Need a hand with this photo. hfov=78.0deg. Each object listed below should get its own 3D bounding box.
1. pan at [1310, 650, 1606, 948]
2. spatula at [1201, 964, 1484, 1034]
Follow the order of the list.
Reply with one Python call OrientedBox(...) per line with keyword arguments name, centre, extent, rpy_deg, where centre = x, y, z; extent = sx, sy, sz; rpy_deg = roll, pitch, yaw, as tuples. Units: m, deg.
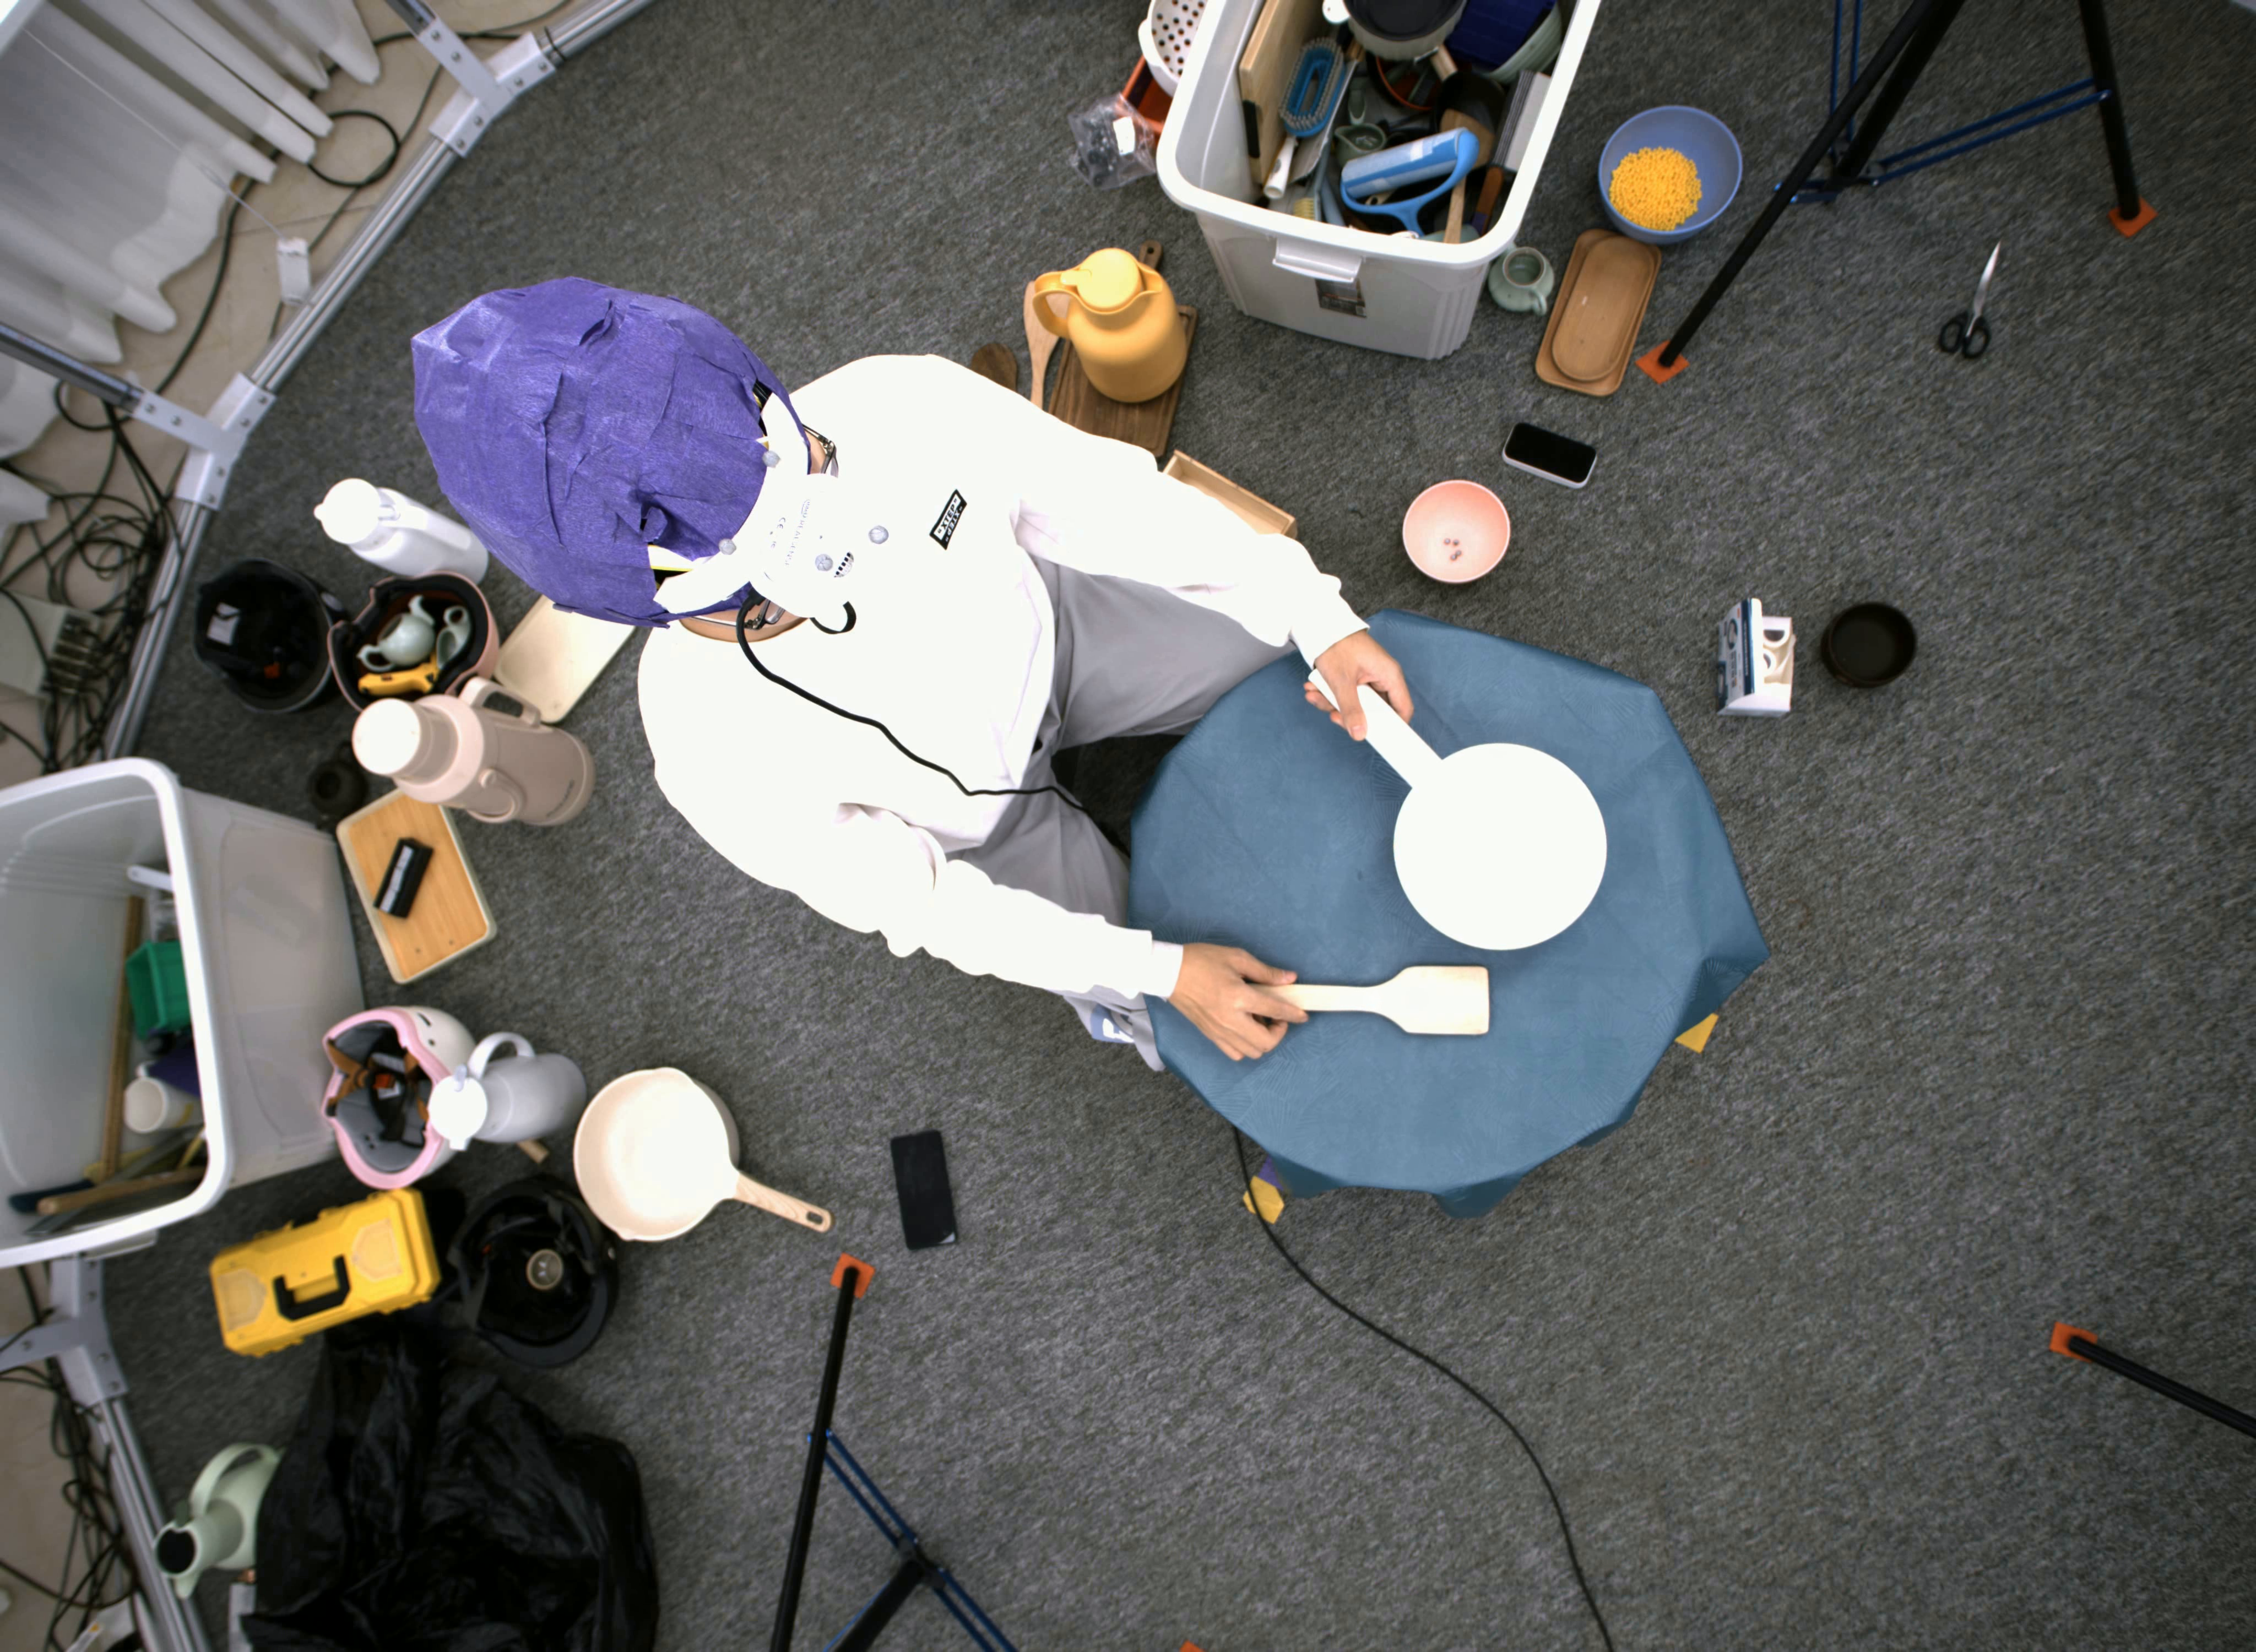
OrientedBox(name="pan", centre=(0.319, -0.034, 1.394), extent=(0.202, 0.102, 0.352), rpy_deg=(-44, 78, 7))
OrientedBox(name="spatula", centre=(0.223, 0.177, 1.444), extent=(0.294, 0.011, 0.071), rpy_deg=(0, 83, 7))
